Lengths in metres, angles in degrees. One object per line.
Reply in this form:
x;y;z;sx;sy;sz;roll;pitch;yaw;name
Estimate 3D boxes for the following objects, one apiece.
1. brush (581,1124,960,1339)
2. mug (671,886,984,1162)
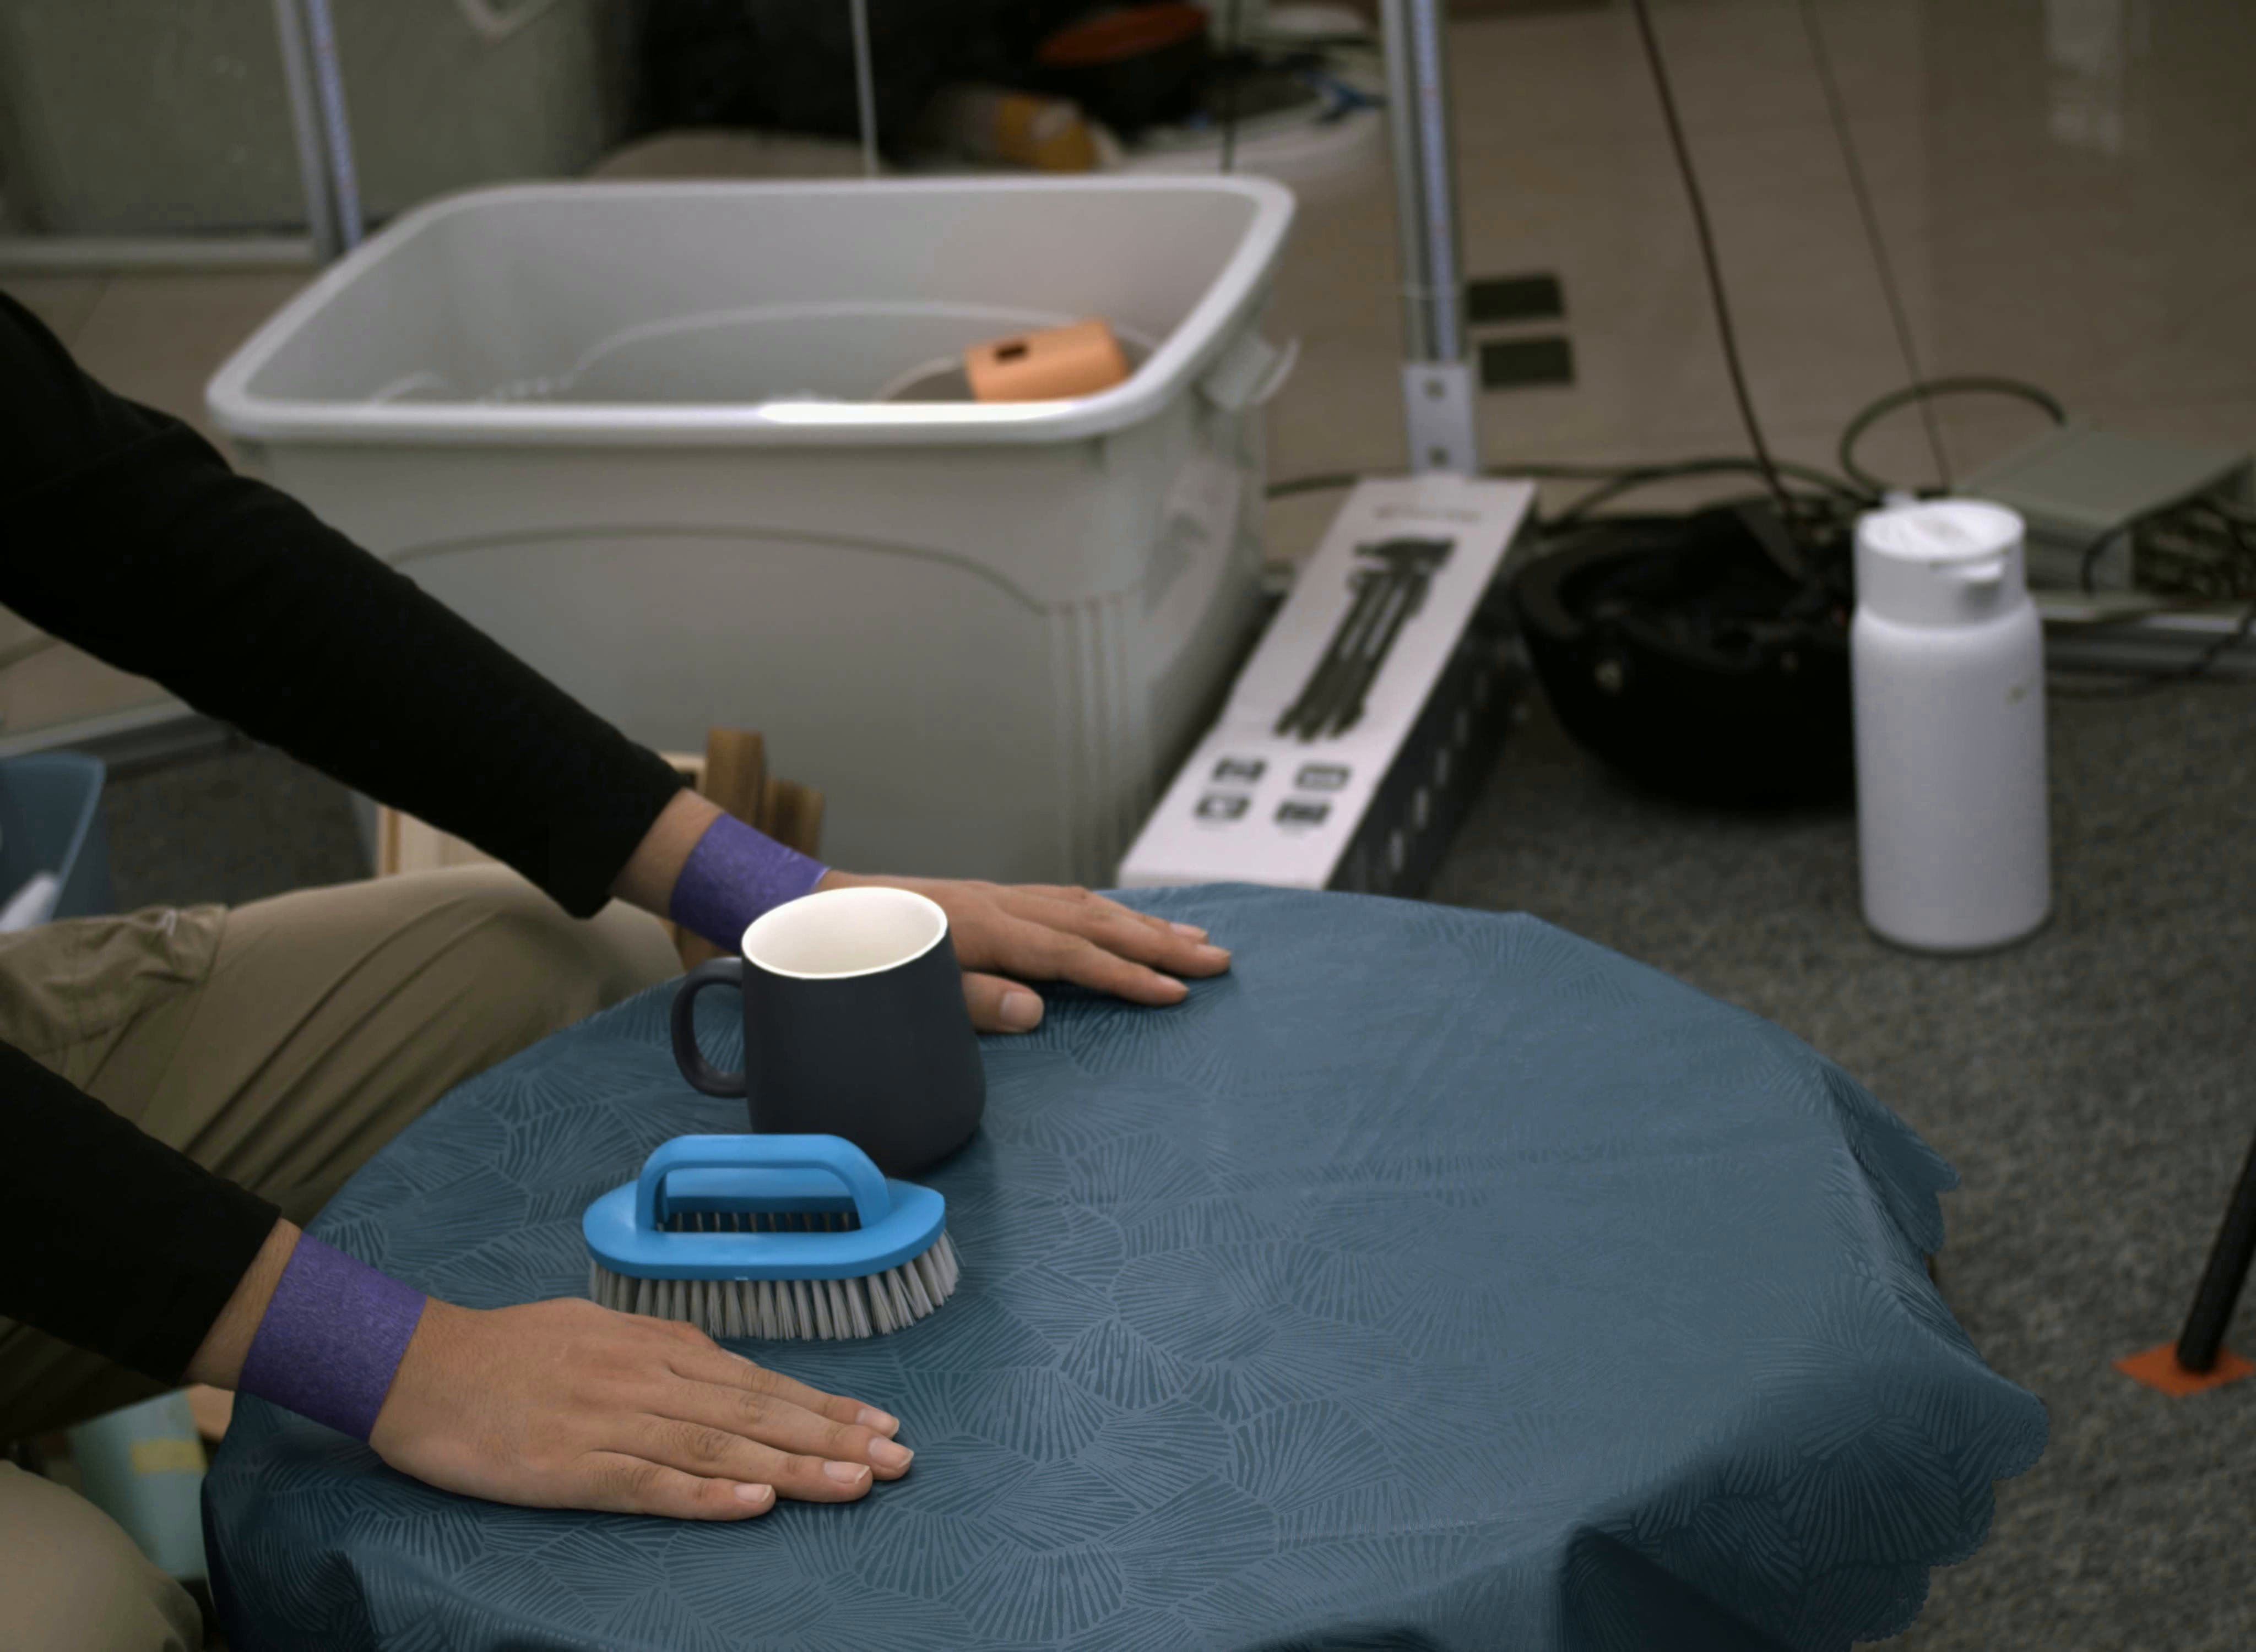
-0.136;0.141;2.096;0.141;0.065;0.083;-1;31;14;brush
-0.119;0.078;2.192;0.123;0.091;0.092;4;27;18;mug
